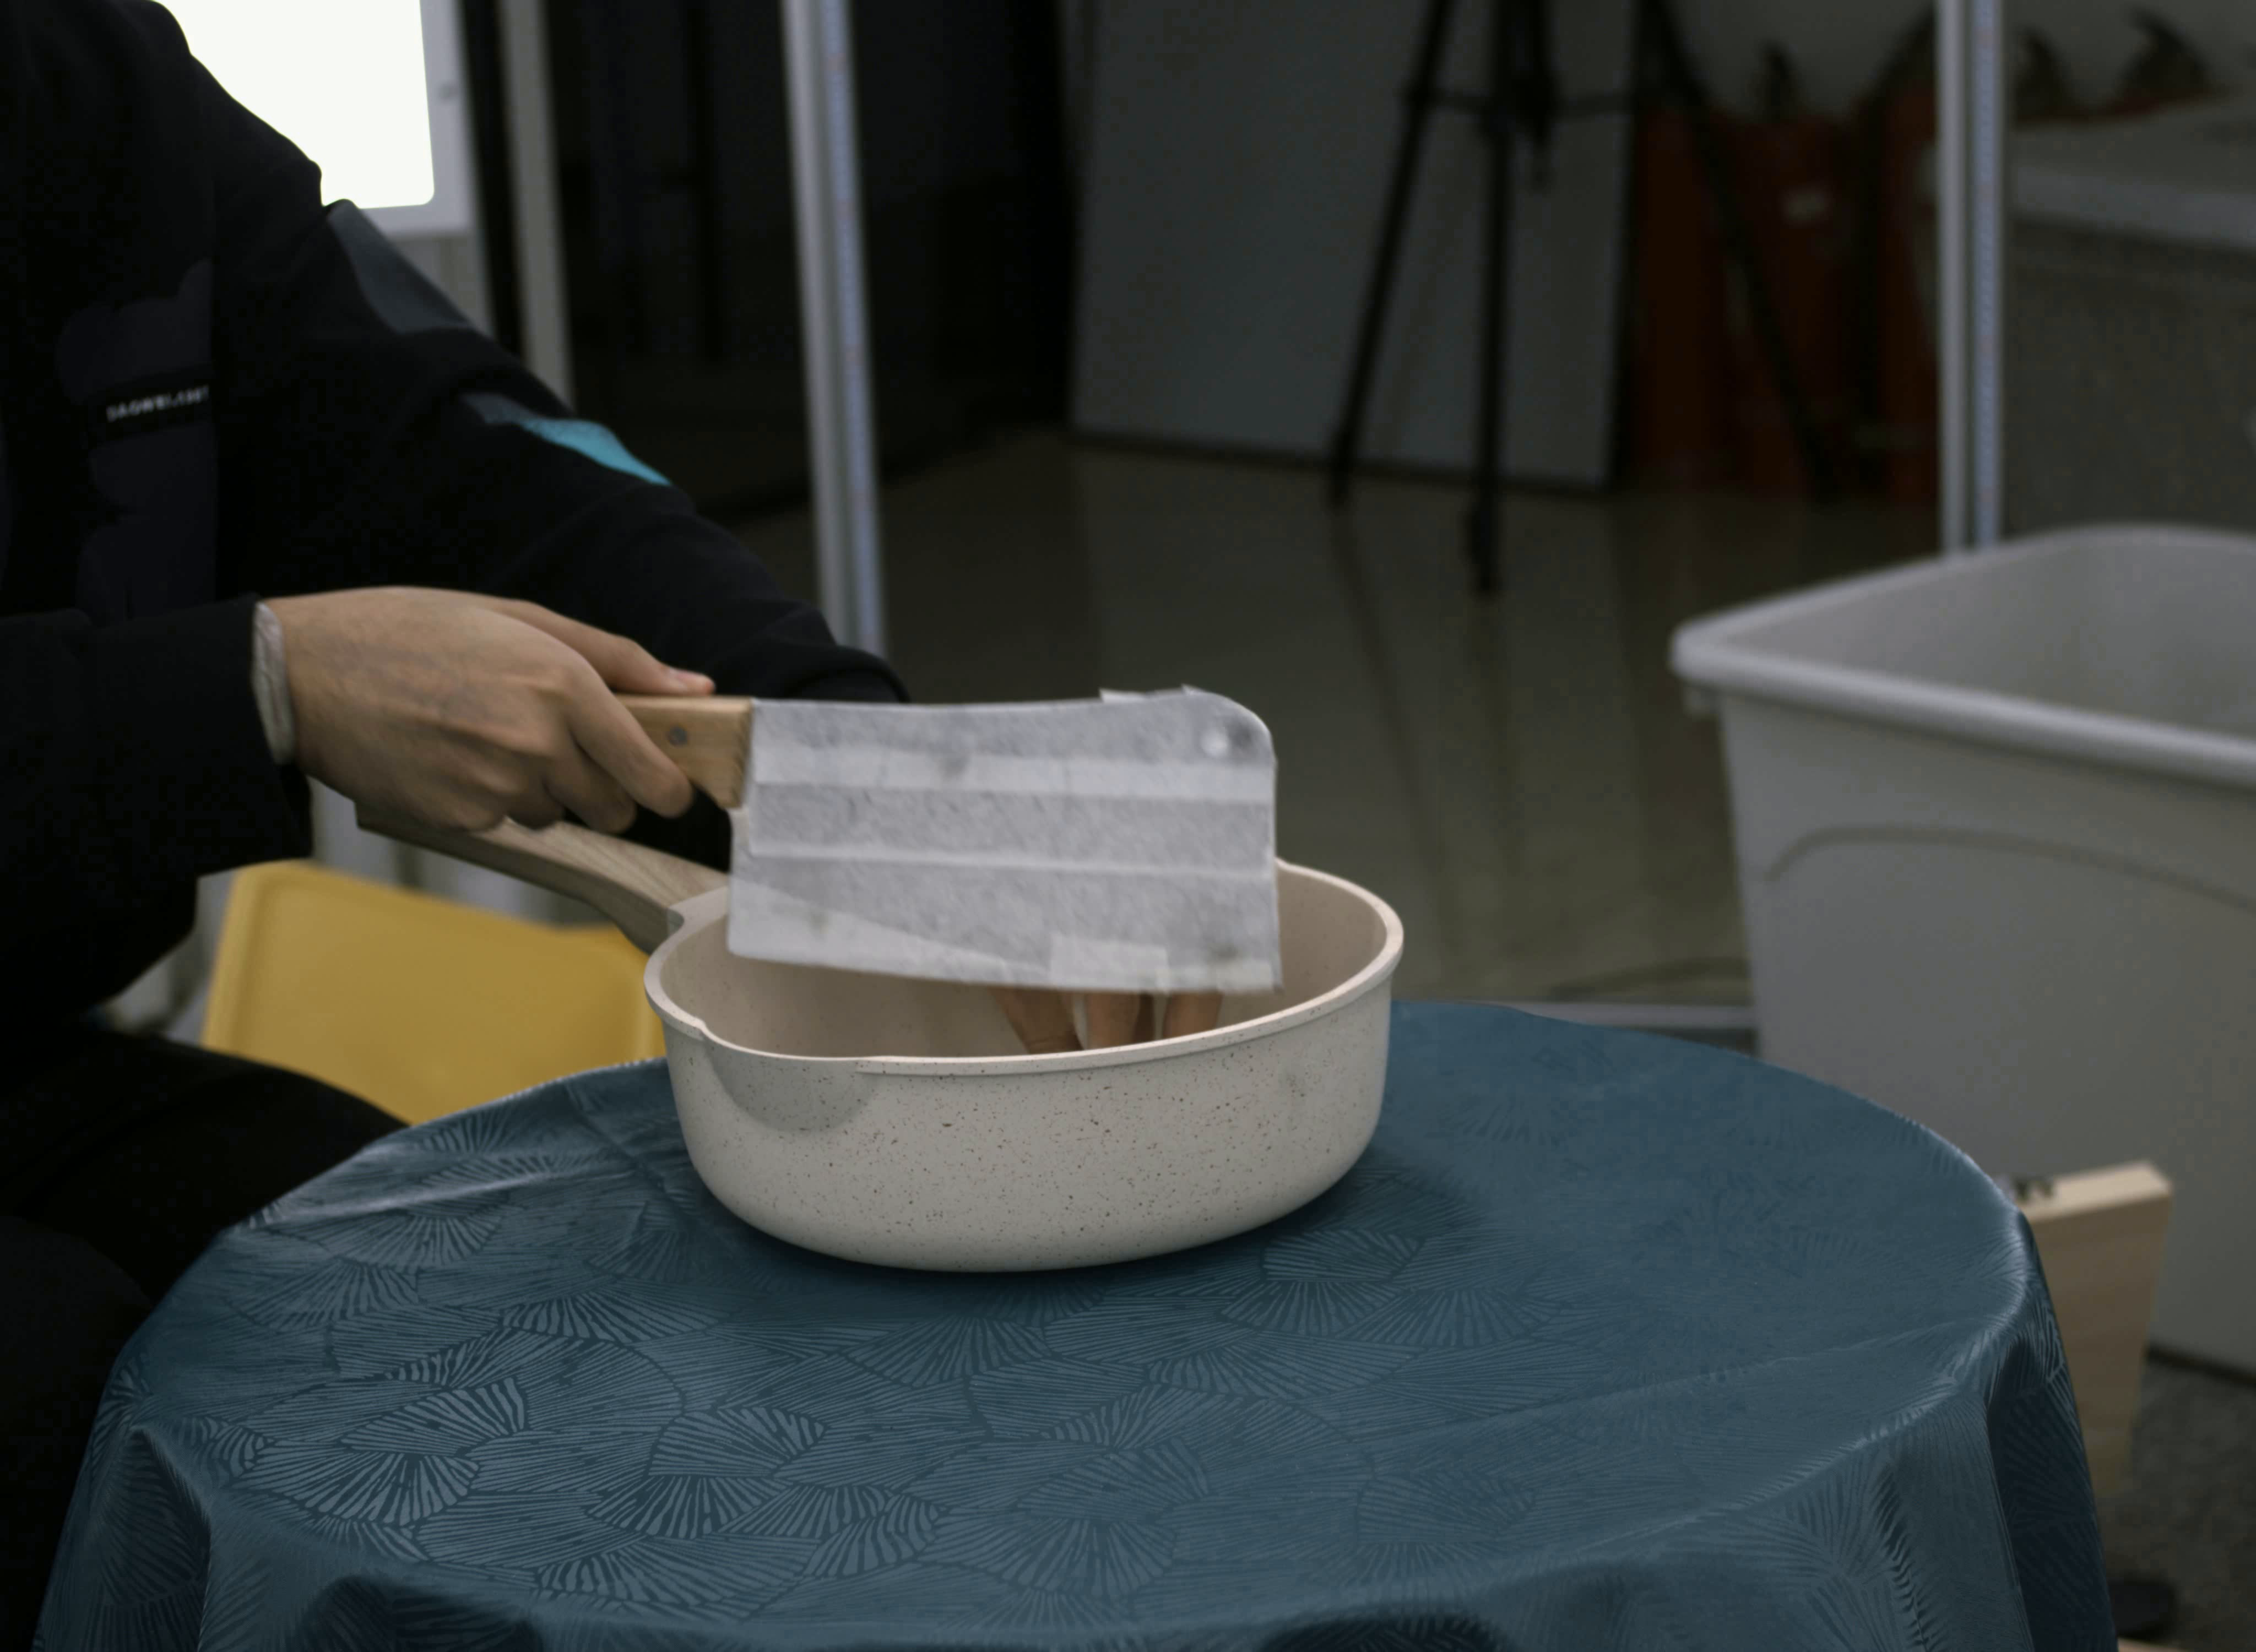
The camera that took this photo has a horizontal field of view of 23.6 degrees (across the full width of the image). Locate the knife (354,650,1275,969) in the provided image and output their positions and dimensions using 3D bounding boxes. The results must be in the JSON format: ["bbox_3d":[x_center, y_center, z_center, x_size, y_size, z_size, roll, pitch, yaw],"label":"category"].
[{"bbox_3d":[-0.102,-0.011,1.770,0.313,0.115,0.021,6,6,10],"label":"knife"}]

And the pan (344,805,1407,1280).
[{"bbox_3d":[-0.101,0.062,1.835,0.438,0.103,0.258,7,20,38],"label":"pan"}]
